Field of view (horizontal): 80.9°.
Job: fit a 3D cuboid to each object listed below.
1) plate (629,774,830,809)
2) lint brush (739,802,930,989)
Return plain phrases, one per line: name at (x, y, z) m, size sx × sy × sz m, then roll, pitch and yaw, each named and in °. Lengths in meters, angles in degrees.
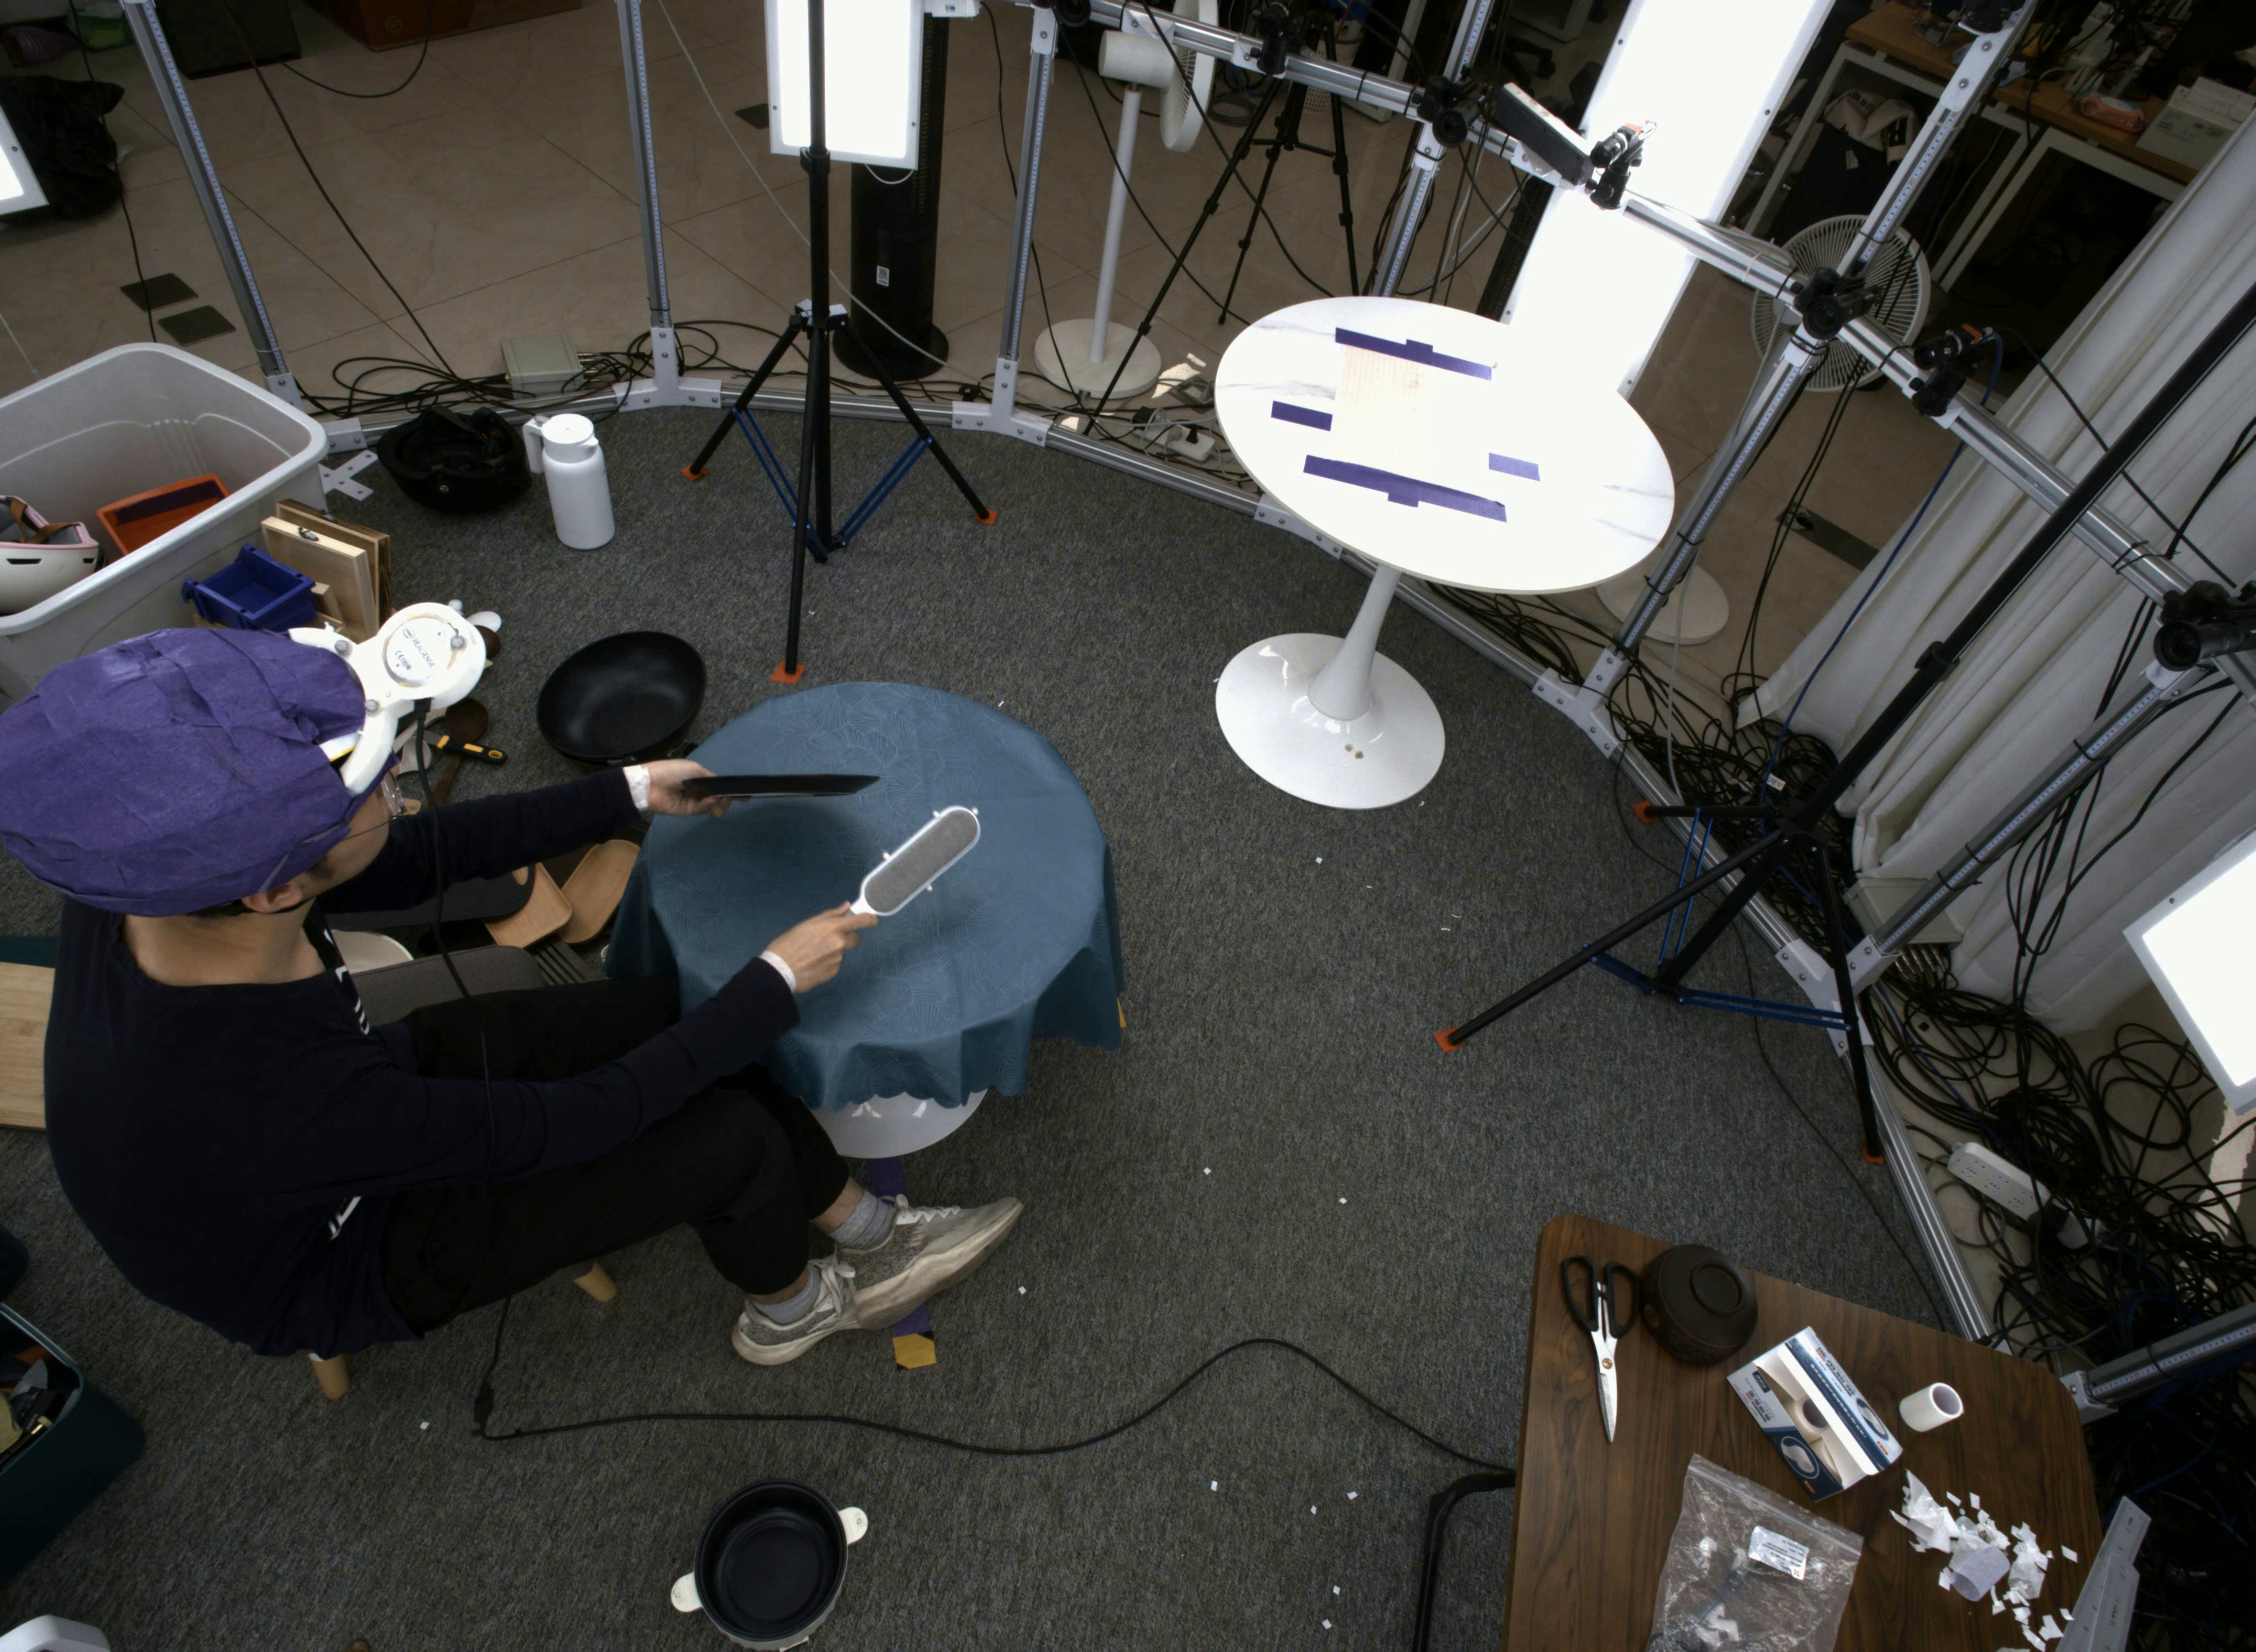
plate at (-0.490, -0.042, 1.593) m, size 0.245 × 0.241 × 0.024 m, roll -4°, pitch 89°, yaw -16°
lint brush at (-0.355, 0.080, 1.576) m, size 0.309 × 0.020 × 0.062 m, roll -47°, pitch 112°, yaw -24°
